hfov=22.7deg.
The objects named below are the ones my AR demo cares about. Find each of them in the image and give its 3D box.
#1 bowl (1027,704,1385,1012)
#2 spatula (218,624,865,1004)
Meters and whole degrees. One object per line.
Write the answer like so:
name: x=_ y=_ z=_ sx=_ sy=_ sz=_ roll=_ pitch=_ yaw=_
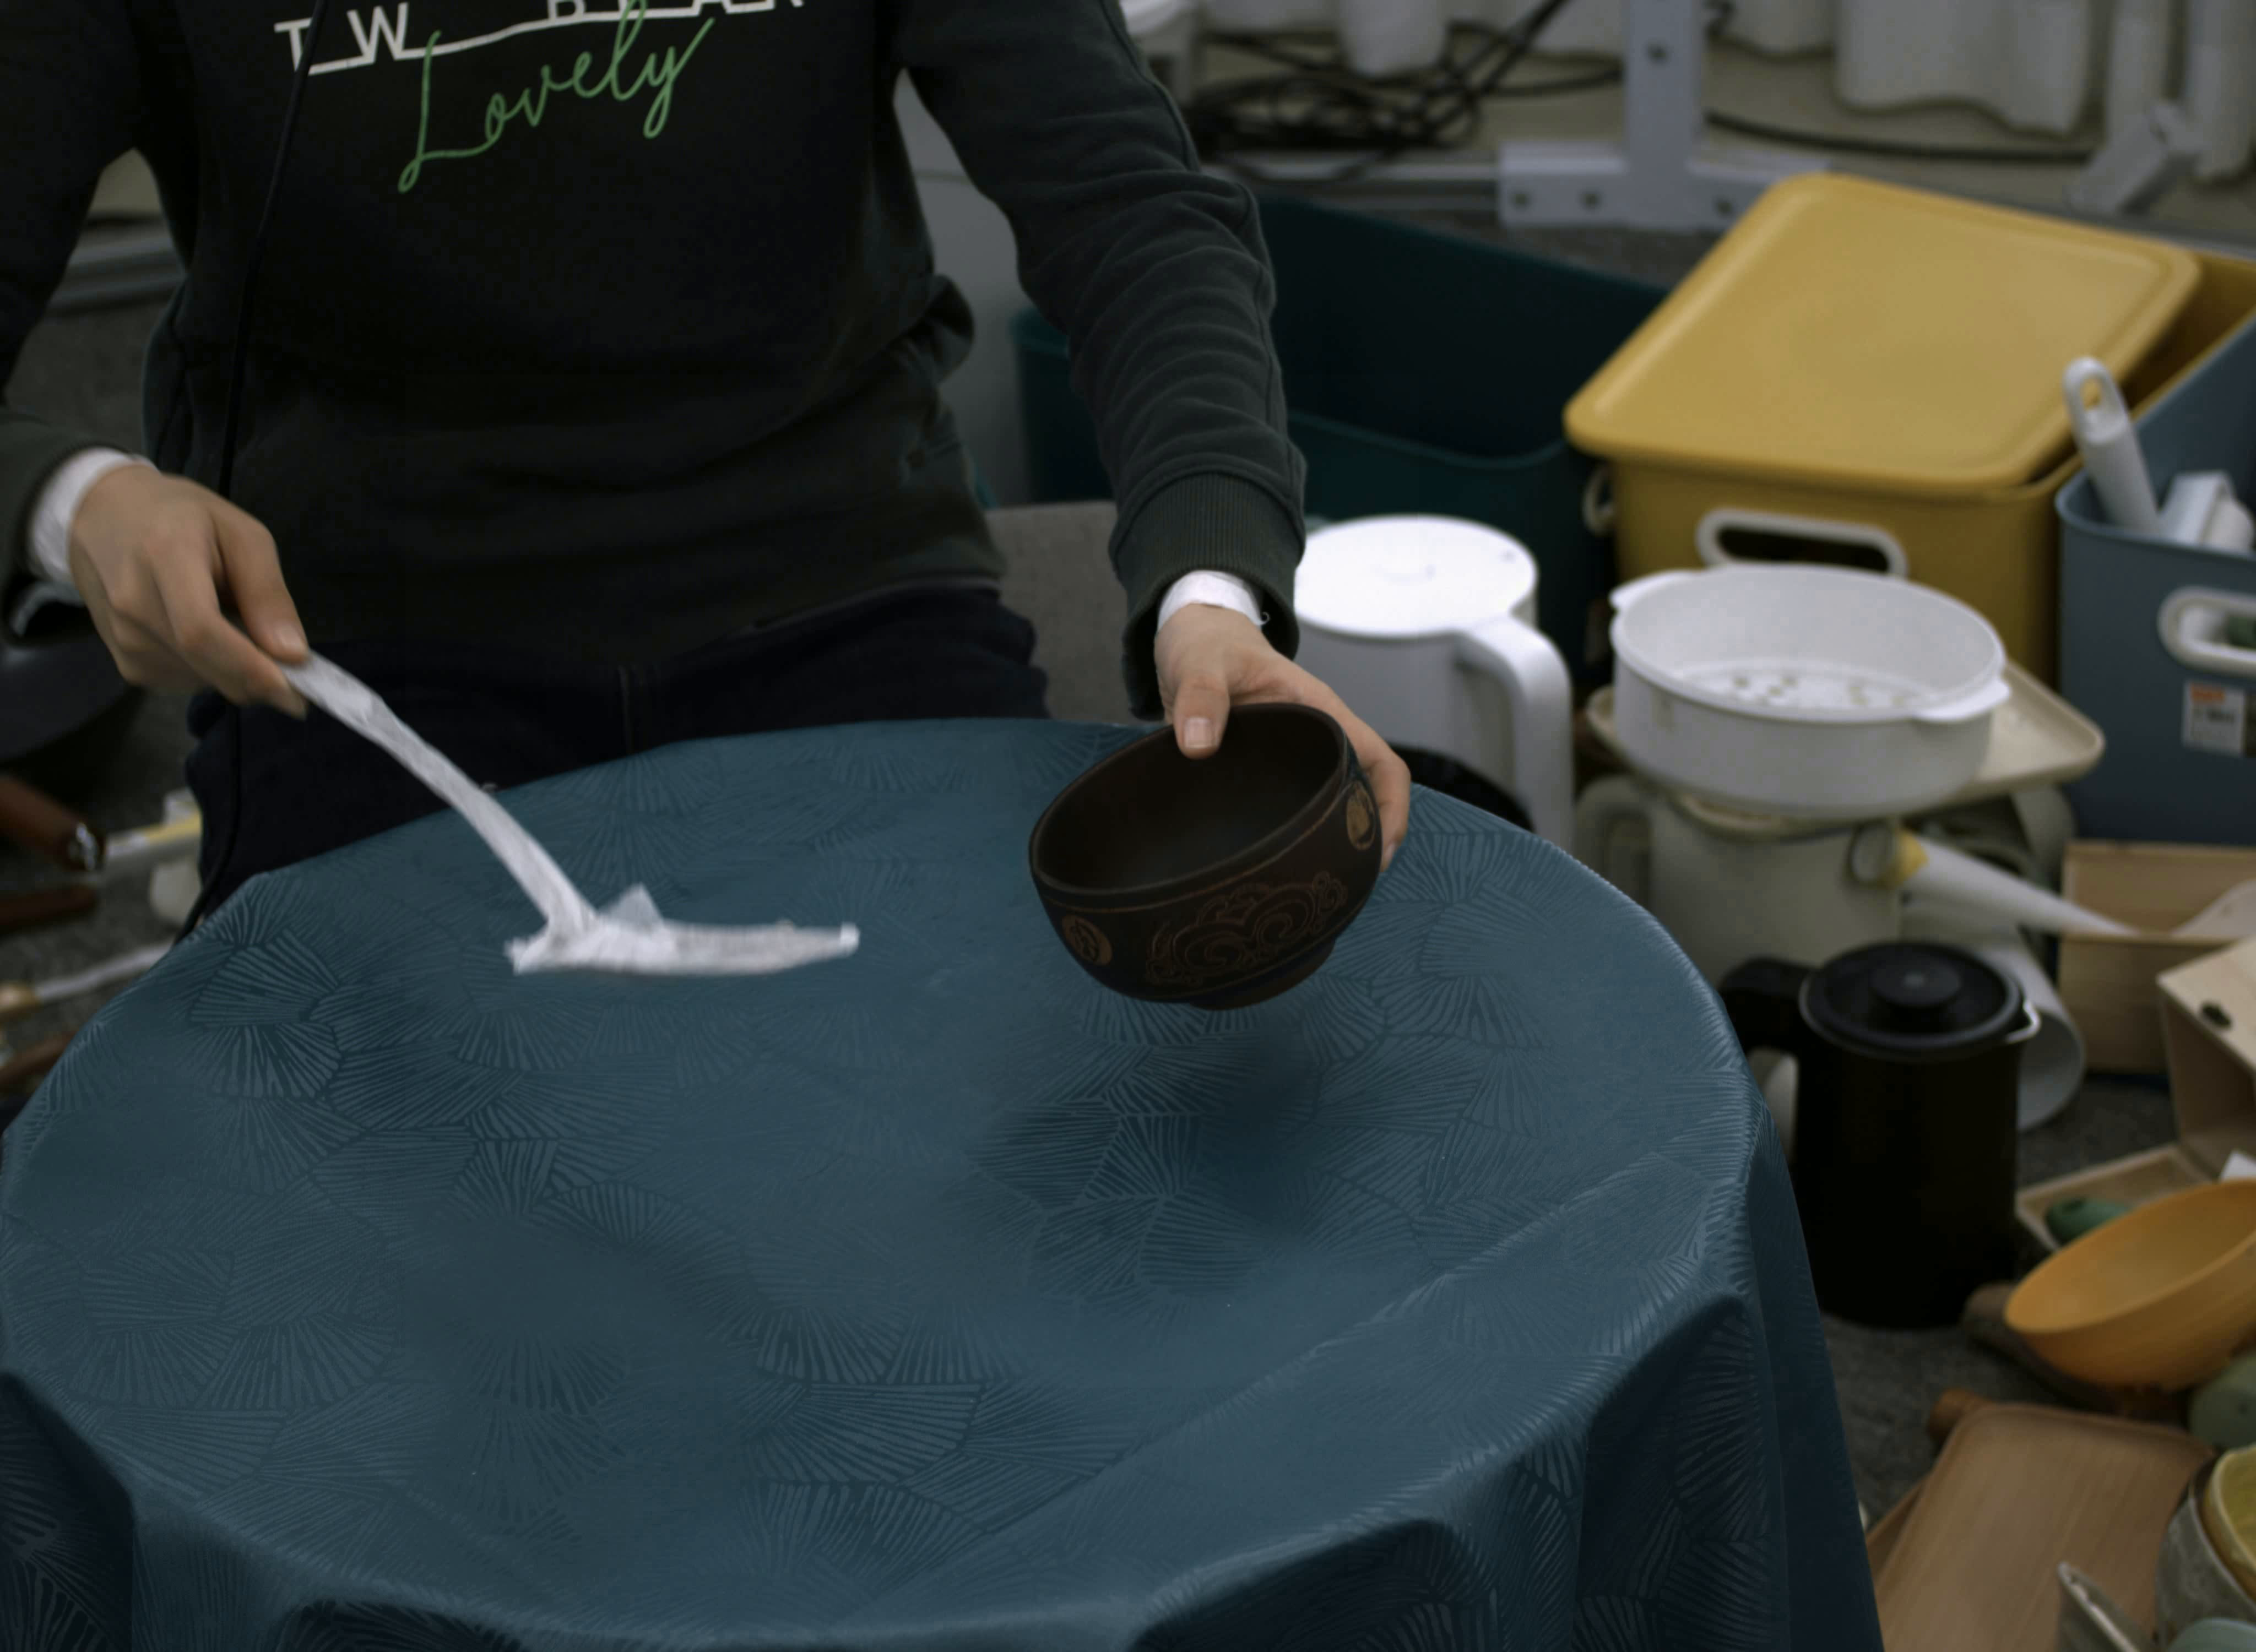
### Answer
bowl: x=0.032 y=0.018 z=1.879 sx=0.117 sy=0.069 sz=0.120 roll=-18 pitch=24 yaw=9
spatula: x=-0.215 y=-0.010 z=1.837 sx=0.099 sy=0.044 sz=0.366 roll=-7 pitch=29 yaw=-35
